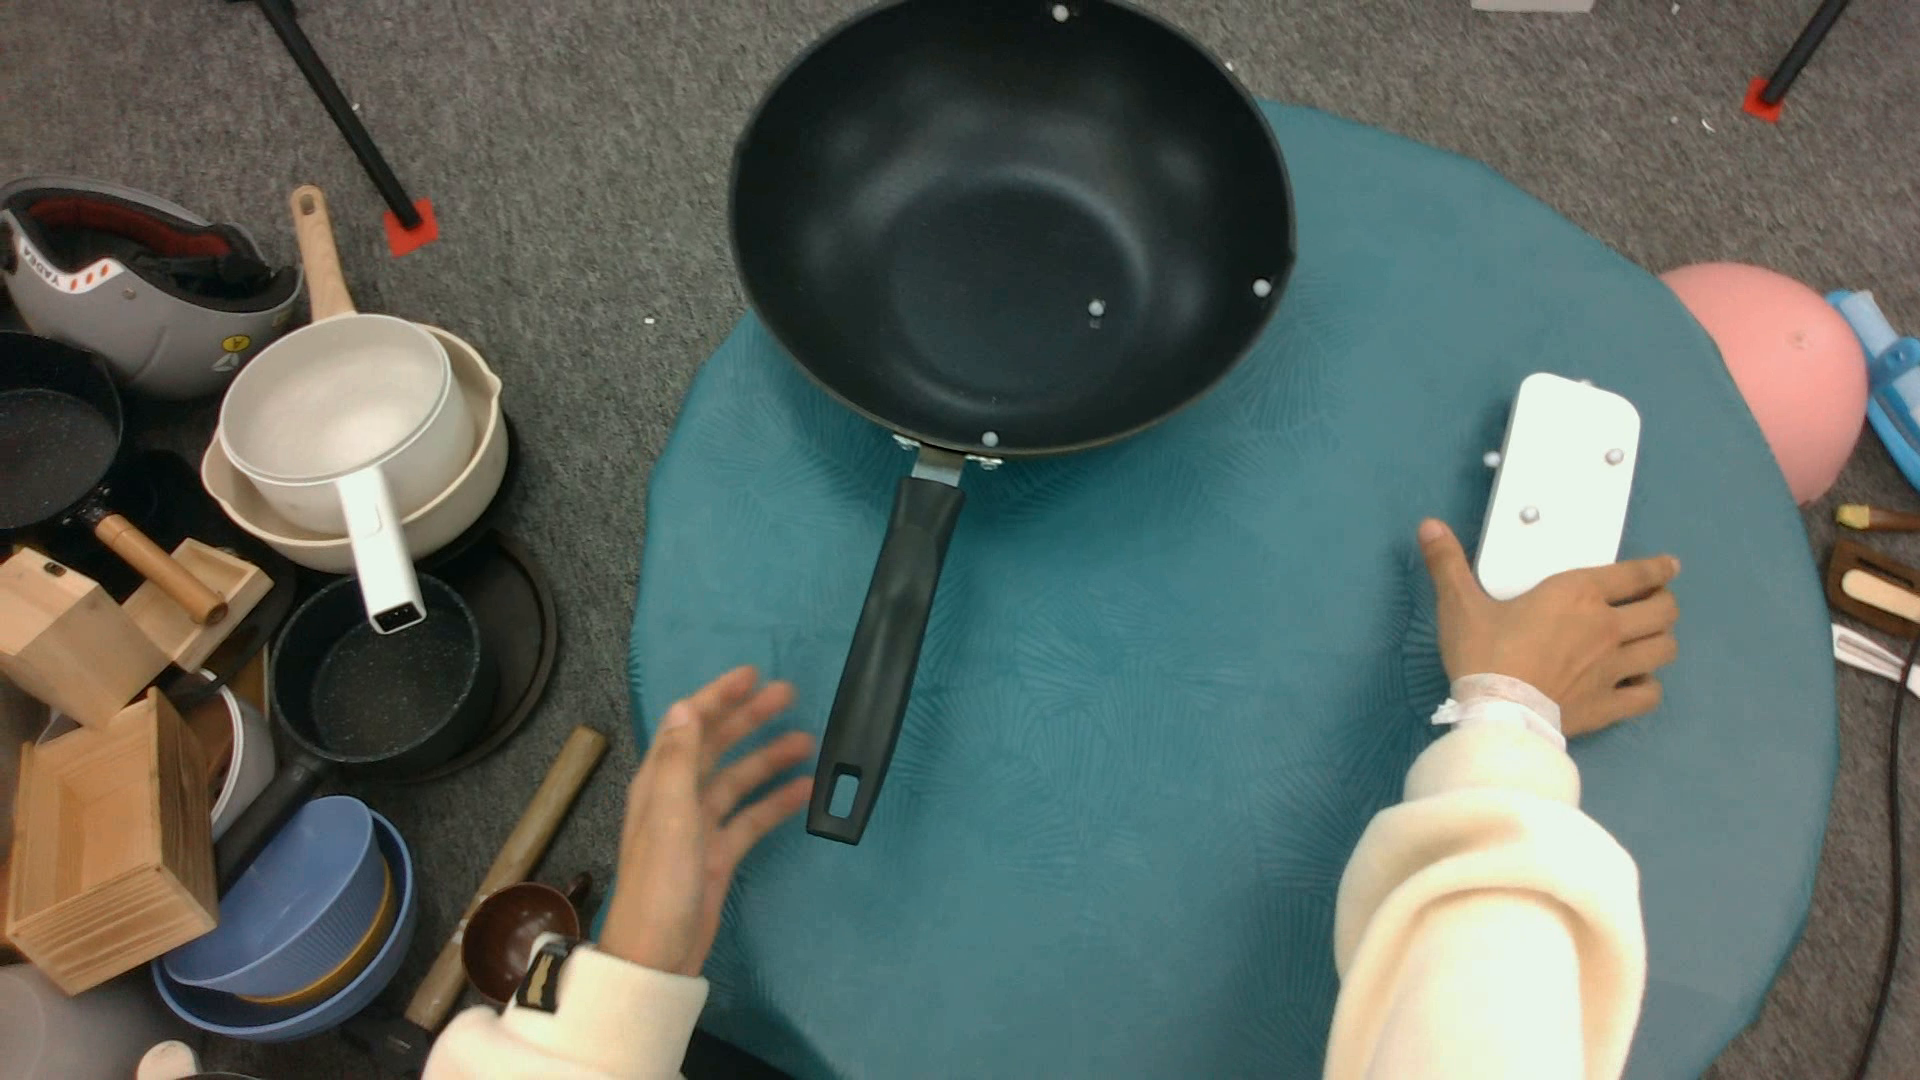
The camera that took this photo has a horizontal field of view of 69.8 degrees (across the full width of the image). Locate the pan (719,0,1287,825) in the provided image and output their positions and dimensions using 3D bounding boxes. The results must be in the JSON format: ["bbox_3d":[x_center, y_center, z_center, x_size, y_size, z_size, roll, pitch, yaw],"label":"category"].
[{"bbox_3d":[-0.003,-0.078,0.690,0.288,0.086,0.465,14,69,5],"label":"pan"}]

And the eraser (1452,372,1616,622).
[{"bbox_3d":[0.291,-0.024,0.701,0.063,0.034,0.132,18,68,9],"label":"eraser"}]
